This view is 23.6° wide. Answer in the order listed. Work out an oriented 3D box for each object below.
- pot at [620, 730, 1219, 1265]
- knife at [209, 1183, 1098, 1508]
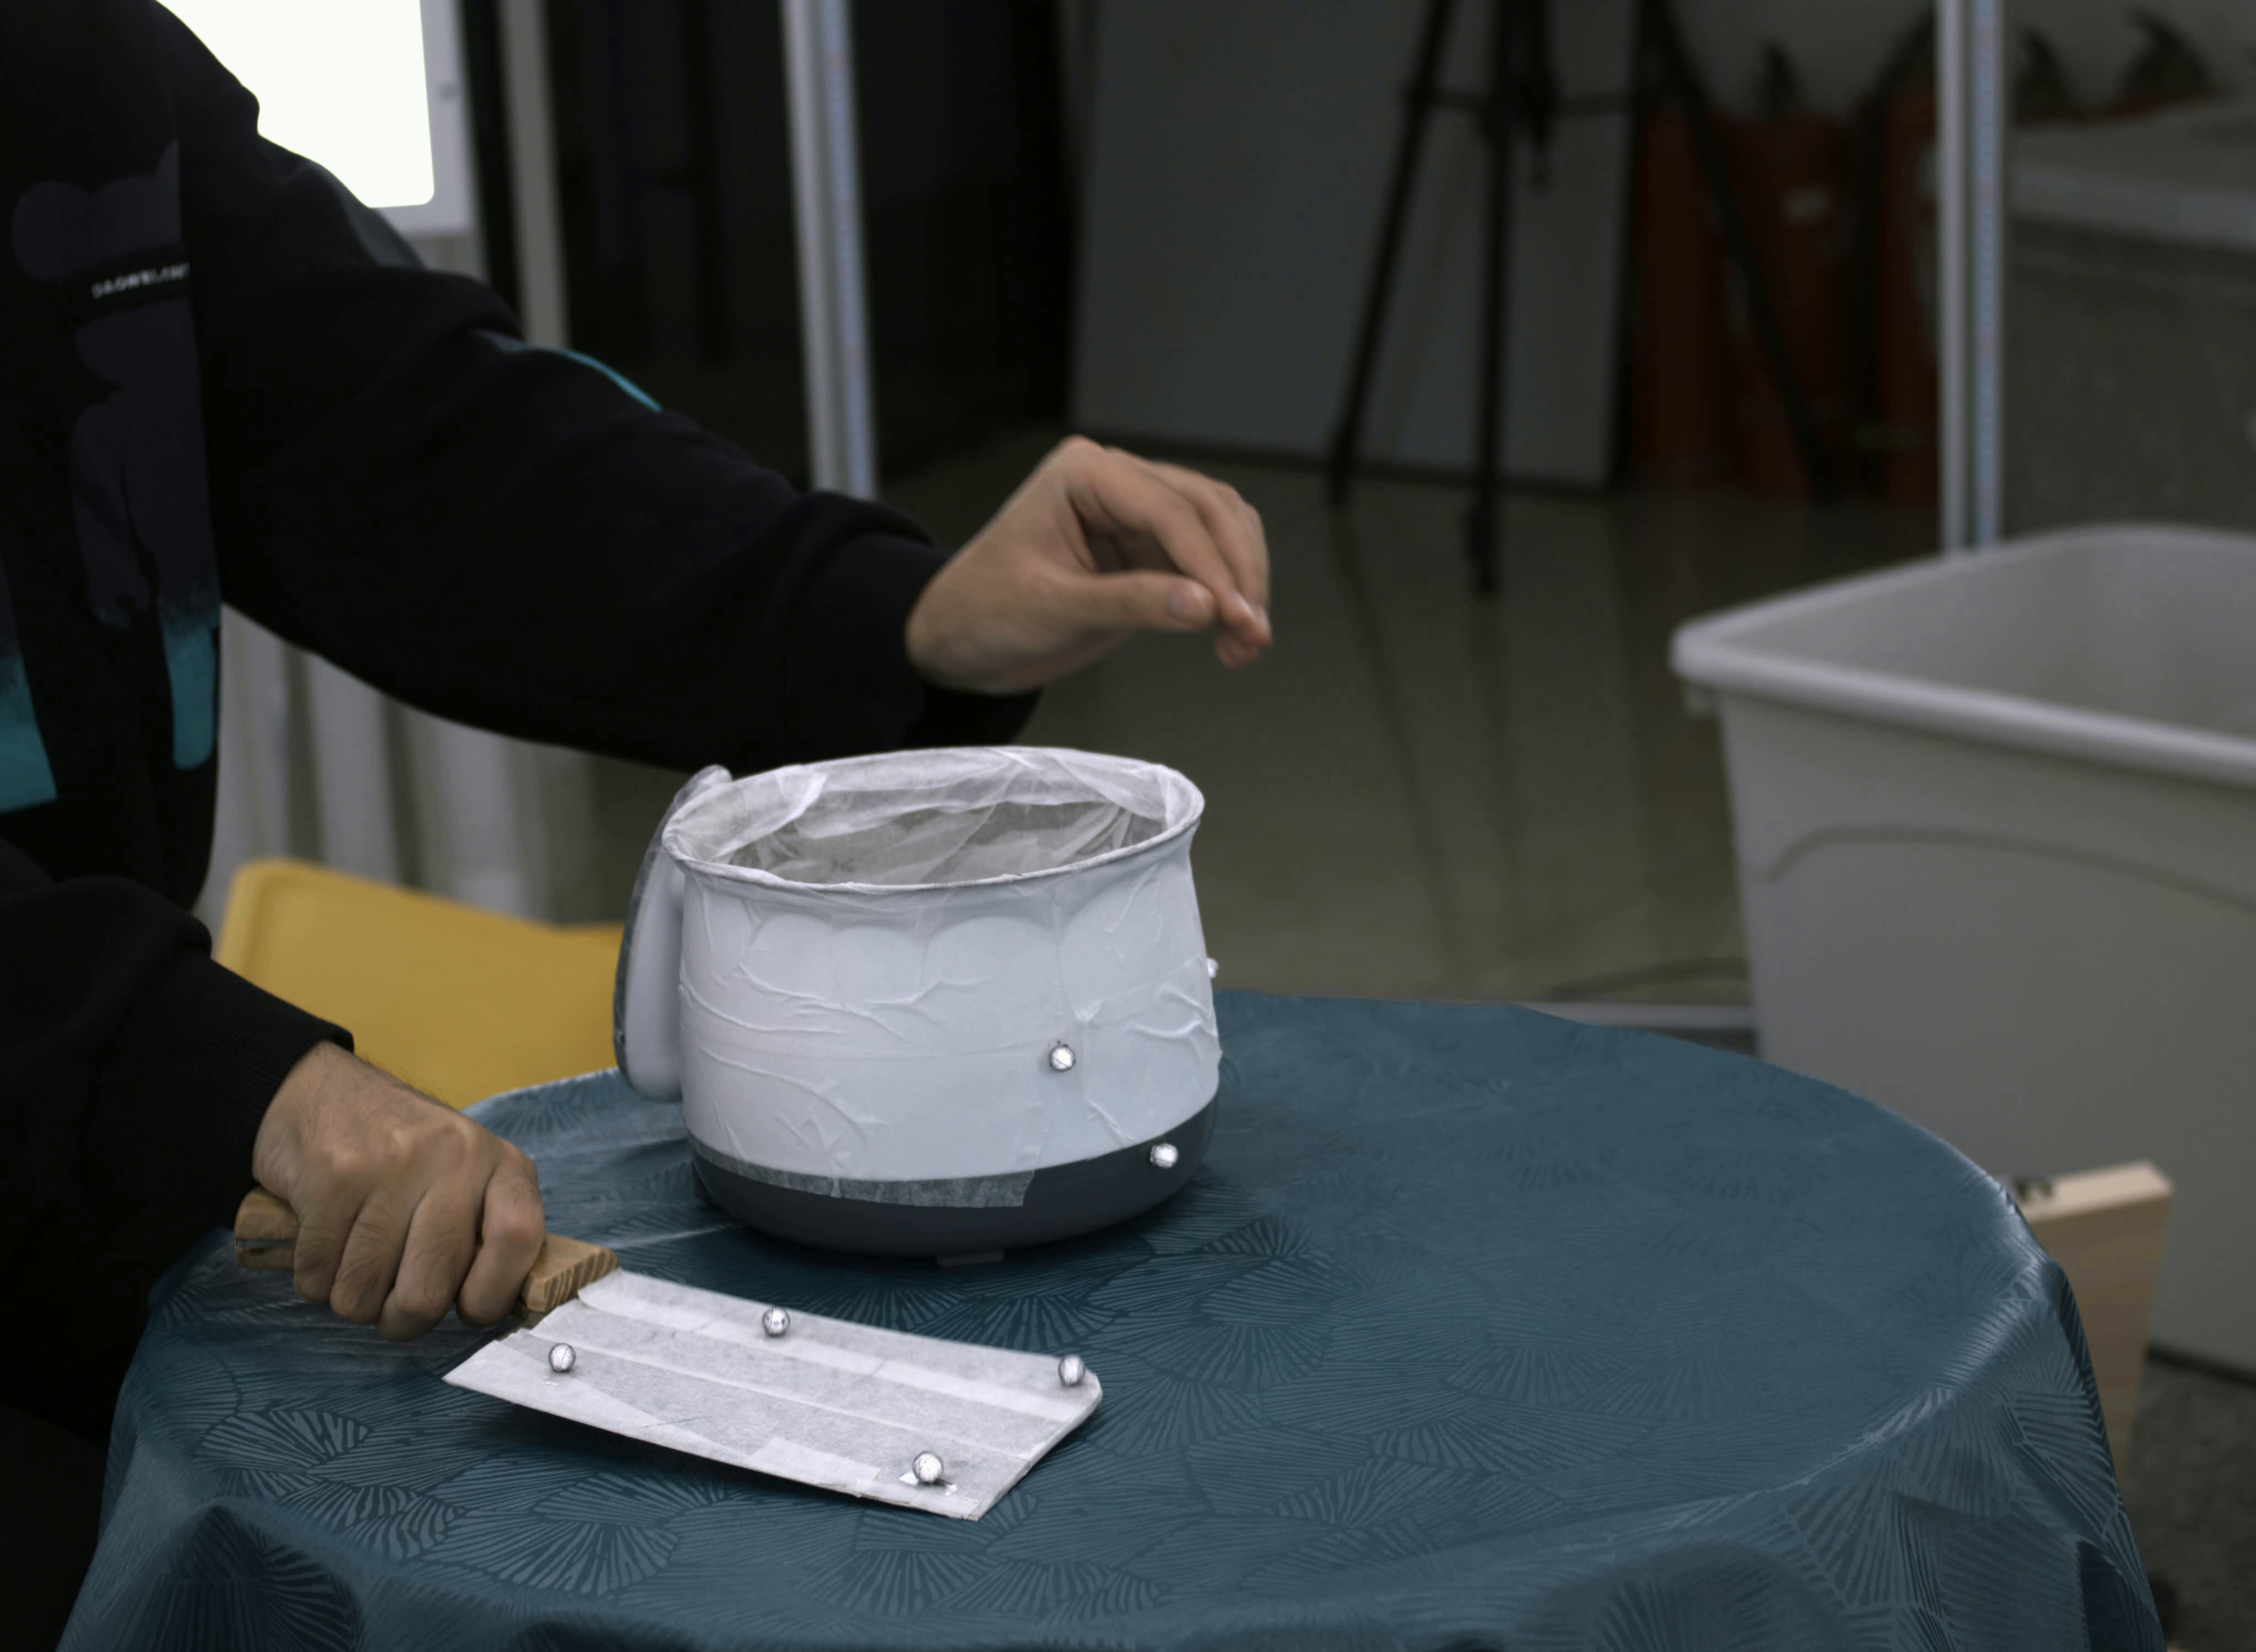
[{"bbox_3d":[-0.079,0.049,1.776,0.235,0.138,0.175,12,19,38],"label":"pot"},{"bbox_3d":[-0.149,0.151,1.612,0.317,0.022,0.112,12,25,33],"label":"knife"}]
